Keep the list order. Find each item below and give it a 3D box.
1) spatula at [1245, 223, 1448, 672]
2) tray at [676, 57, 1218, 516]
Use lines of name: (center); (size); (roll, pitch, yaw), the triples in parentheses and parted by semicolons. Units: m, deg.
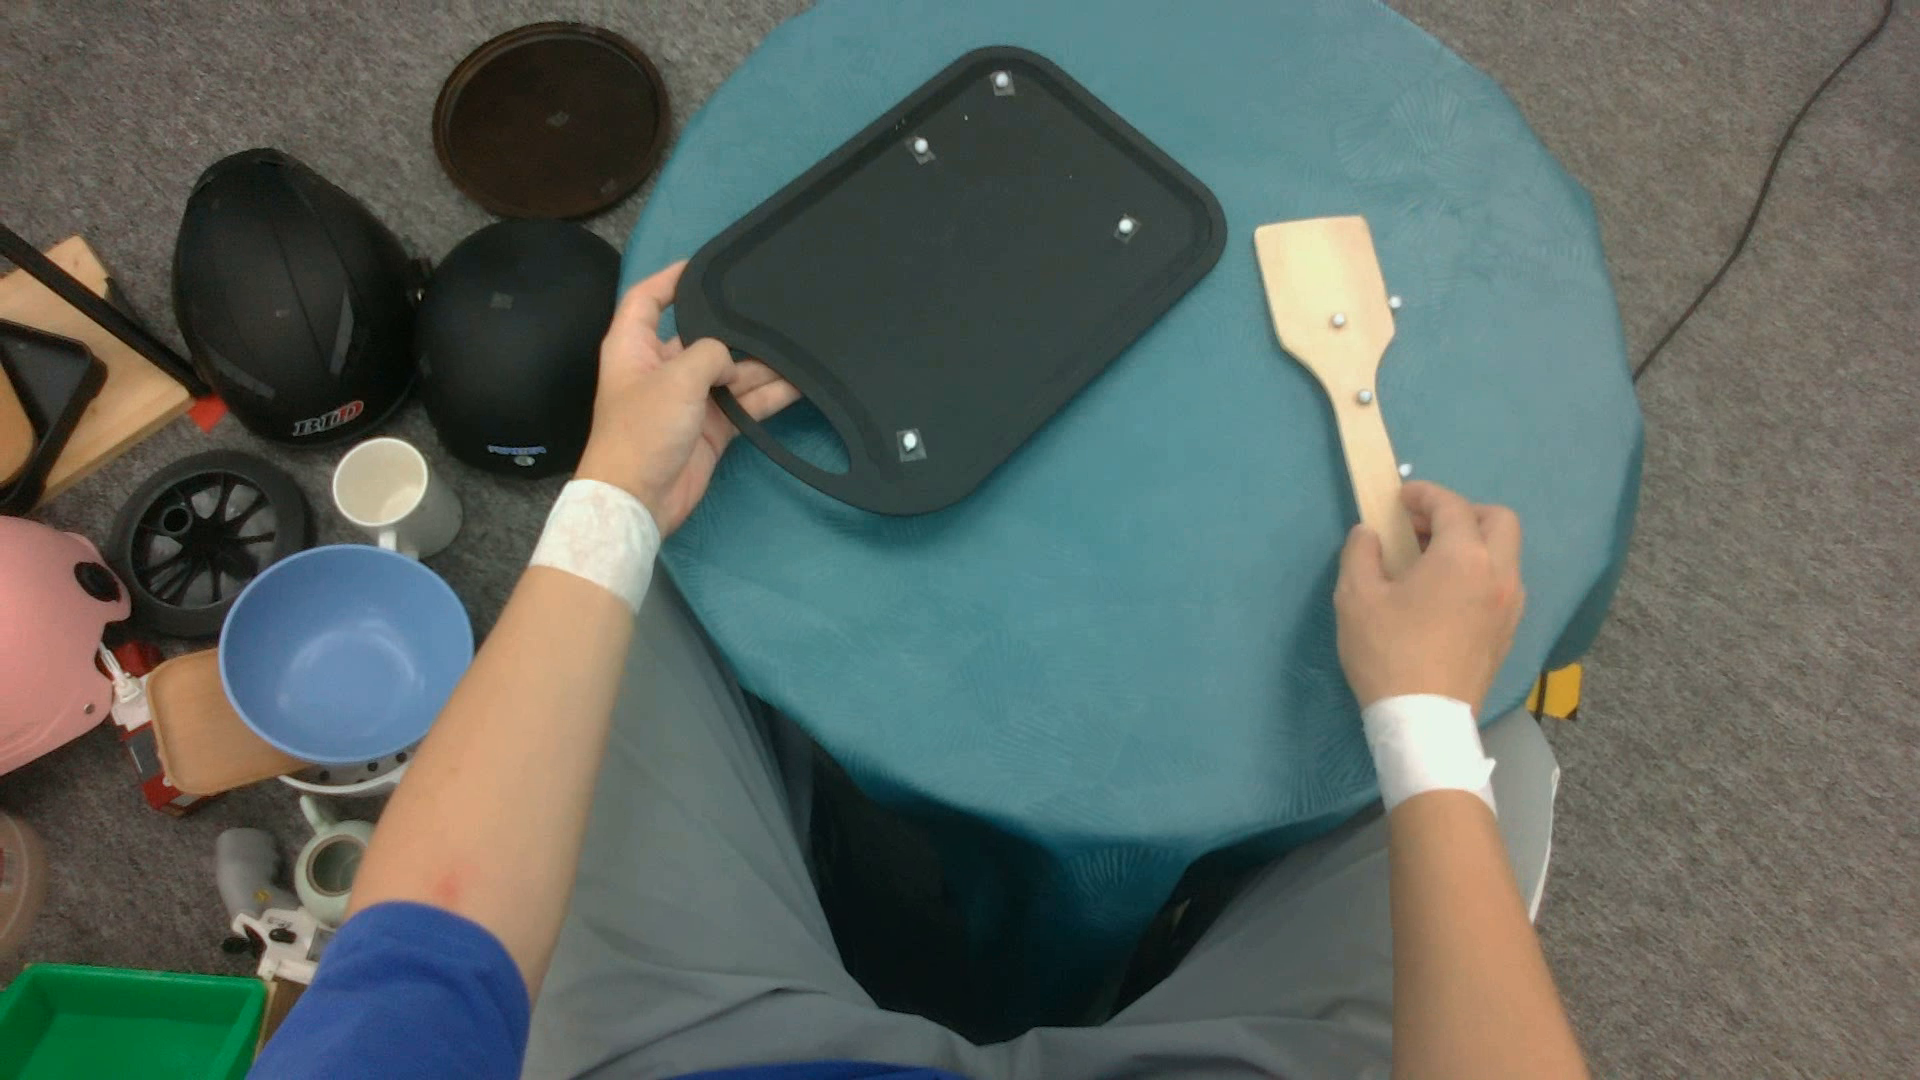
spatula: (0.230, -0.062, 0.794); (0.072, 0.010, 0.294); (-7, 65, -4)
tray: (-0.006, -0.157, 0.815); (0.211, 0.010, 0.326); (42, 68, 12)
